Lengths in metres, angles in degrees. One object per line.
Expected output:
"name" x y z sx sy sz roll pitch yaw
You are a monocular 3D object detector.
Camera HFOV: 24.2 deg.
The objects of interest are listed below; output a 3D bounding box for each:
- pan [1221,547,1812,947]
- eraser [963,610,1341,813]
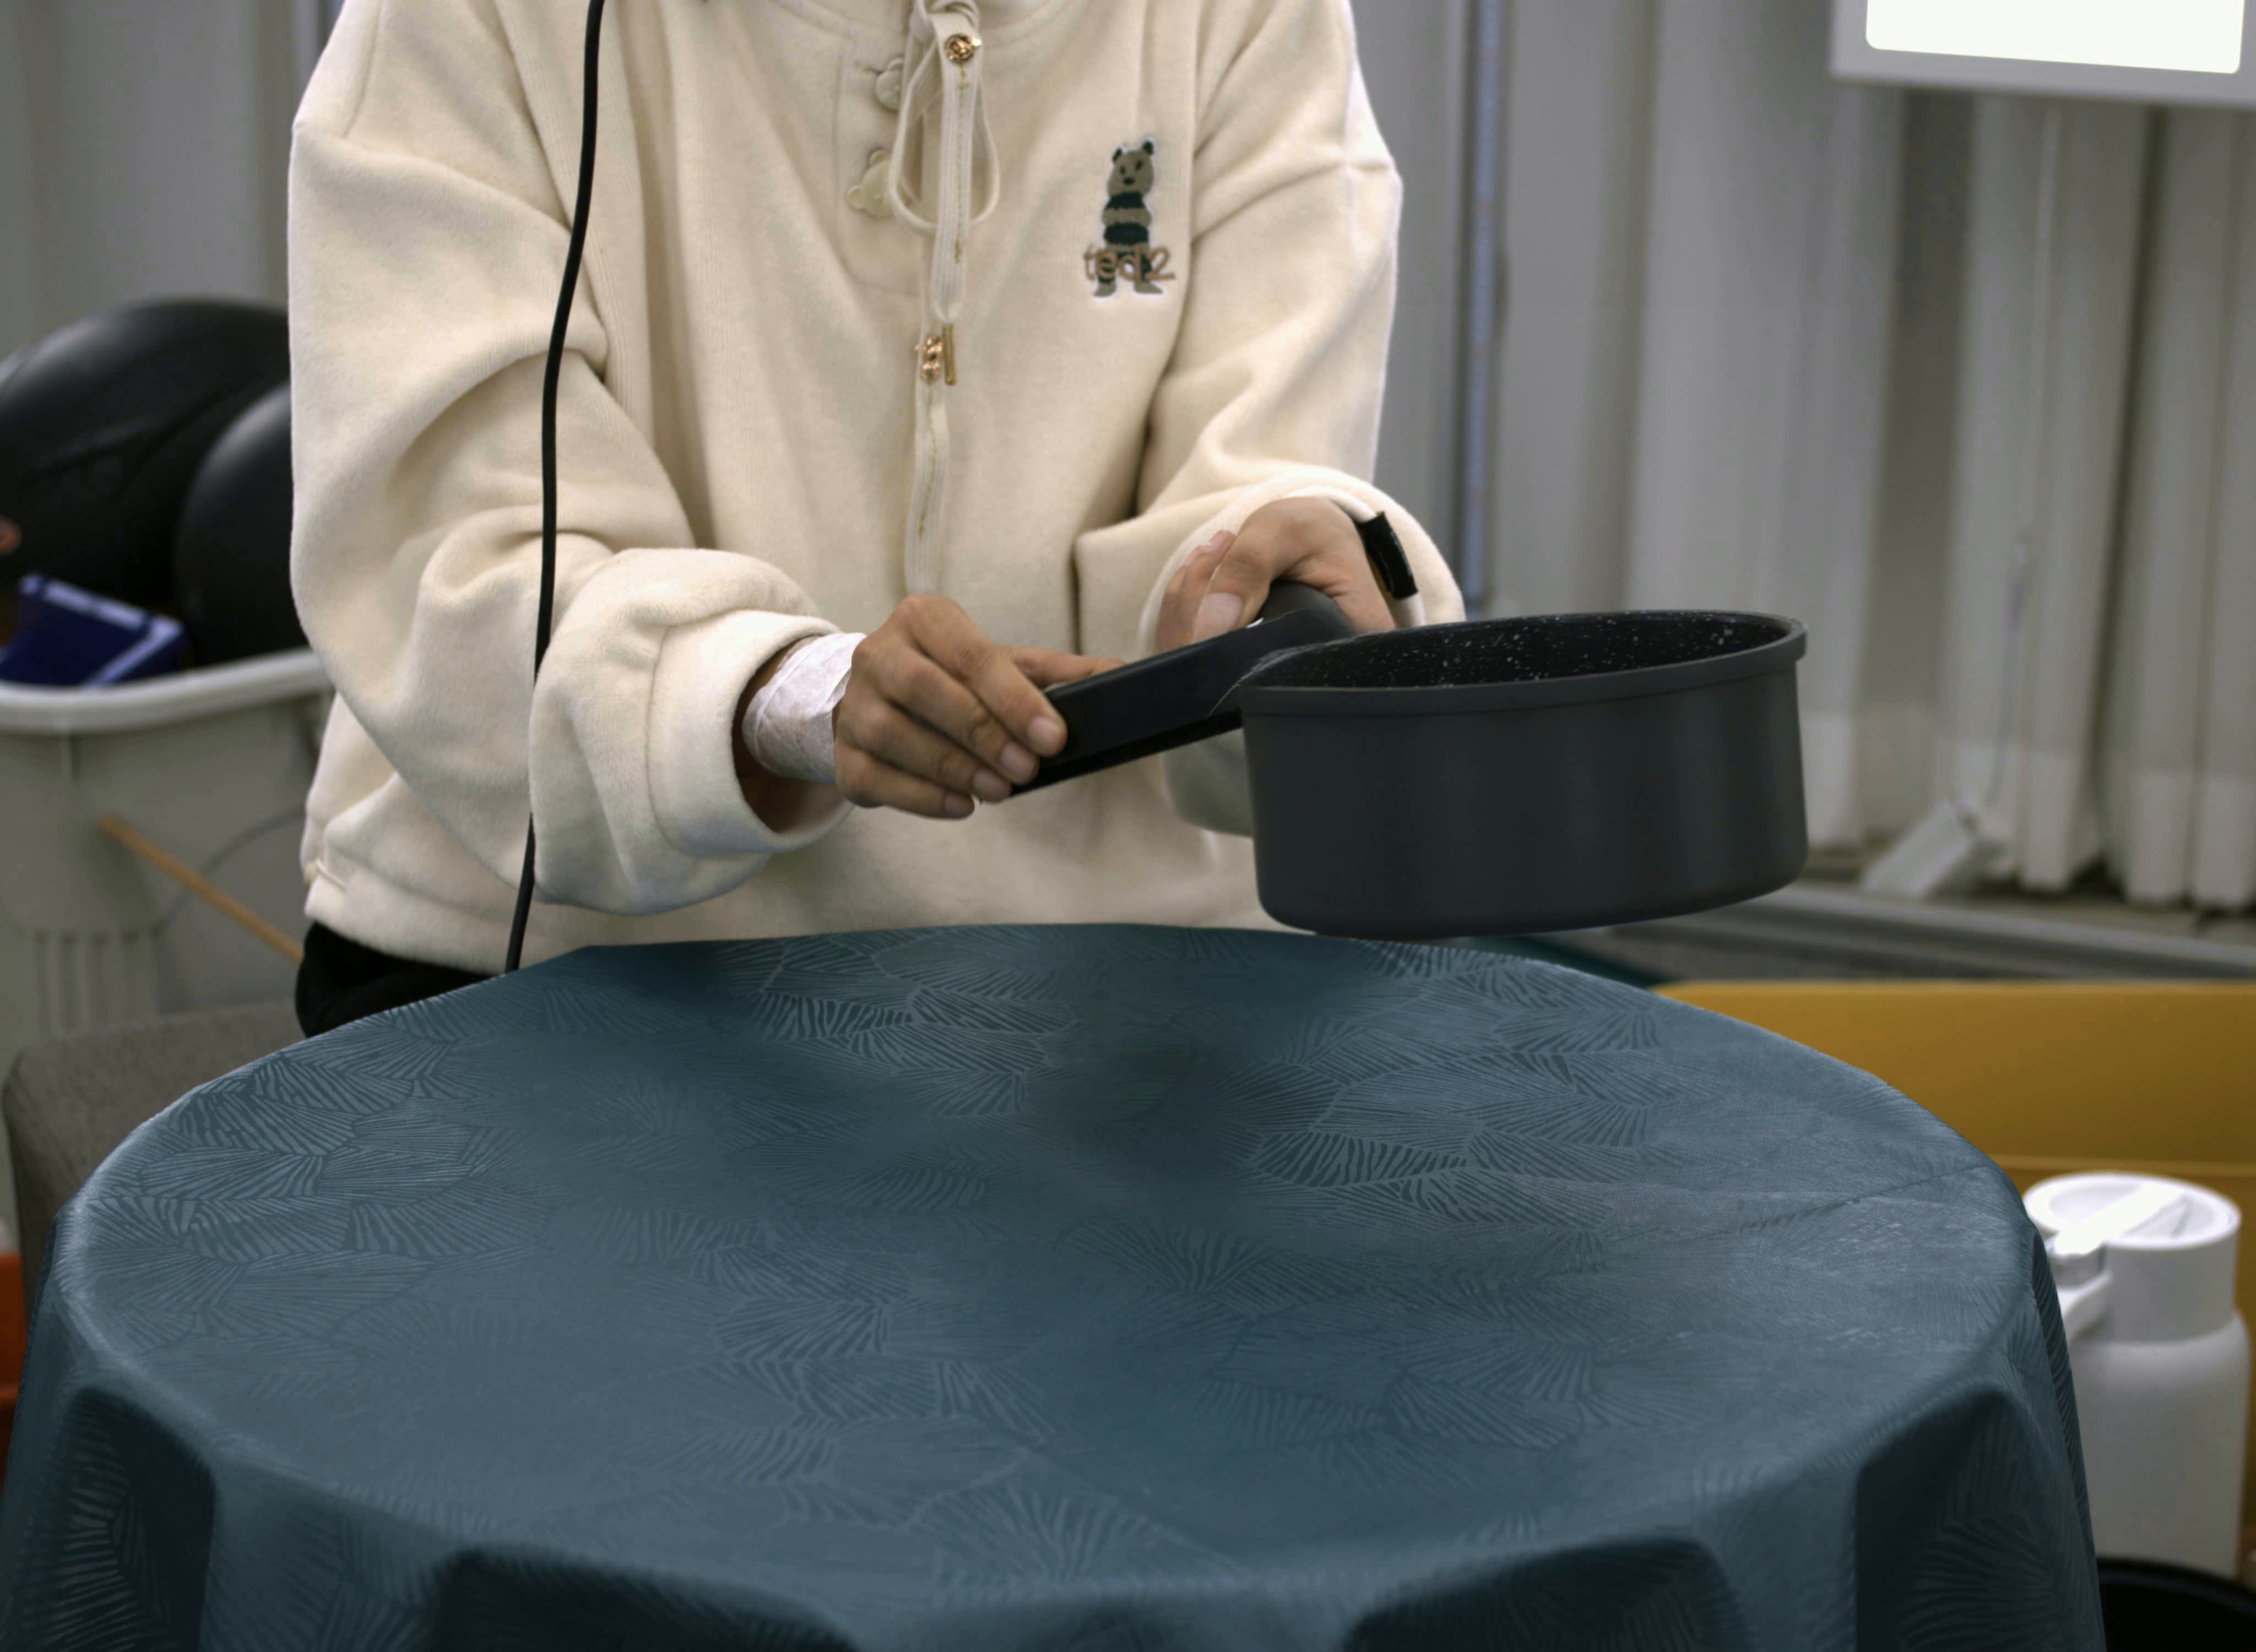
"pan" 0.093 -0.029 1.622 0.172 0.087 0.326 -8 10 -15
"eraser" 0.008 -0.036 1.646 0.054 0.030 0.124 -18 -1 -44
